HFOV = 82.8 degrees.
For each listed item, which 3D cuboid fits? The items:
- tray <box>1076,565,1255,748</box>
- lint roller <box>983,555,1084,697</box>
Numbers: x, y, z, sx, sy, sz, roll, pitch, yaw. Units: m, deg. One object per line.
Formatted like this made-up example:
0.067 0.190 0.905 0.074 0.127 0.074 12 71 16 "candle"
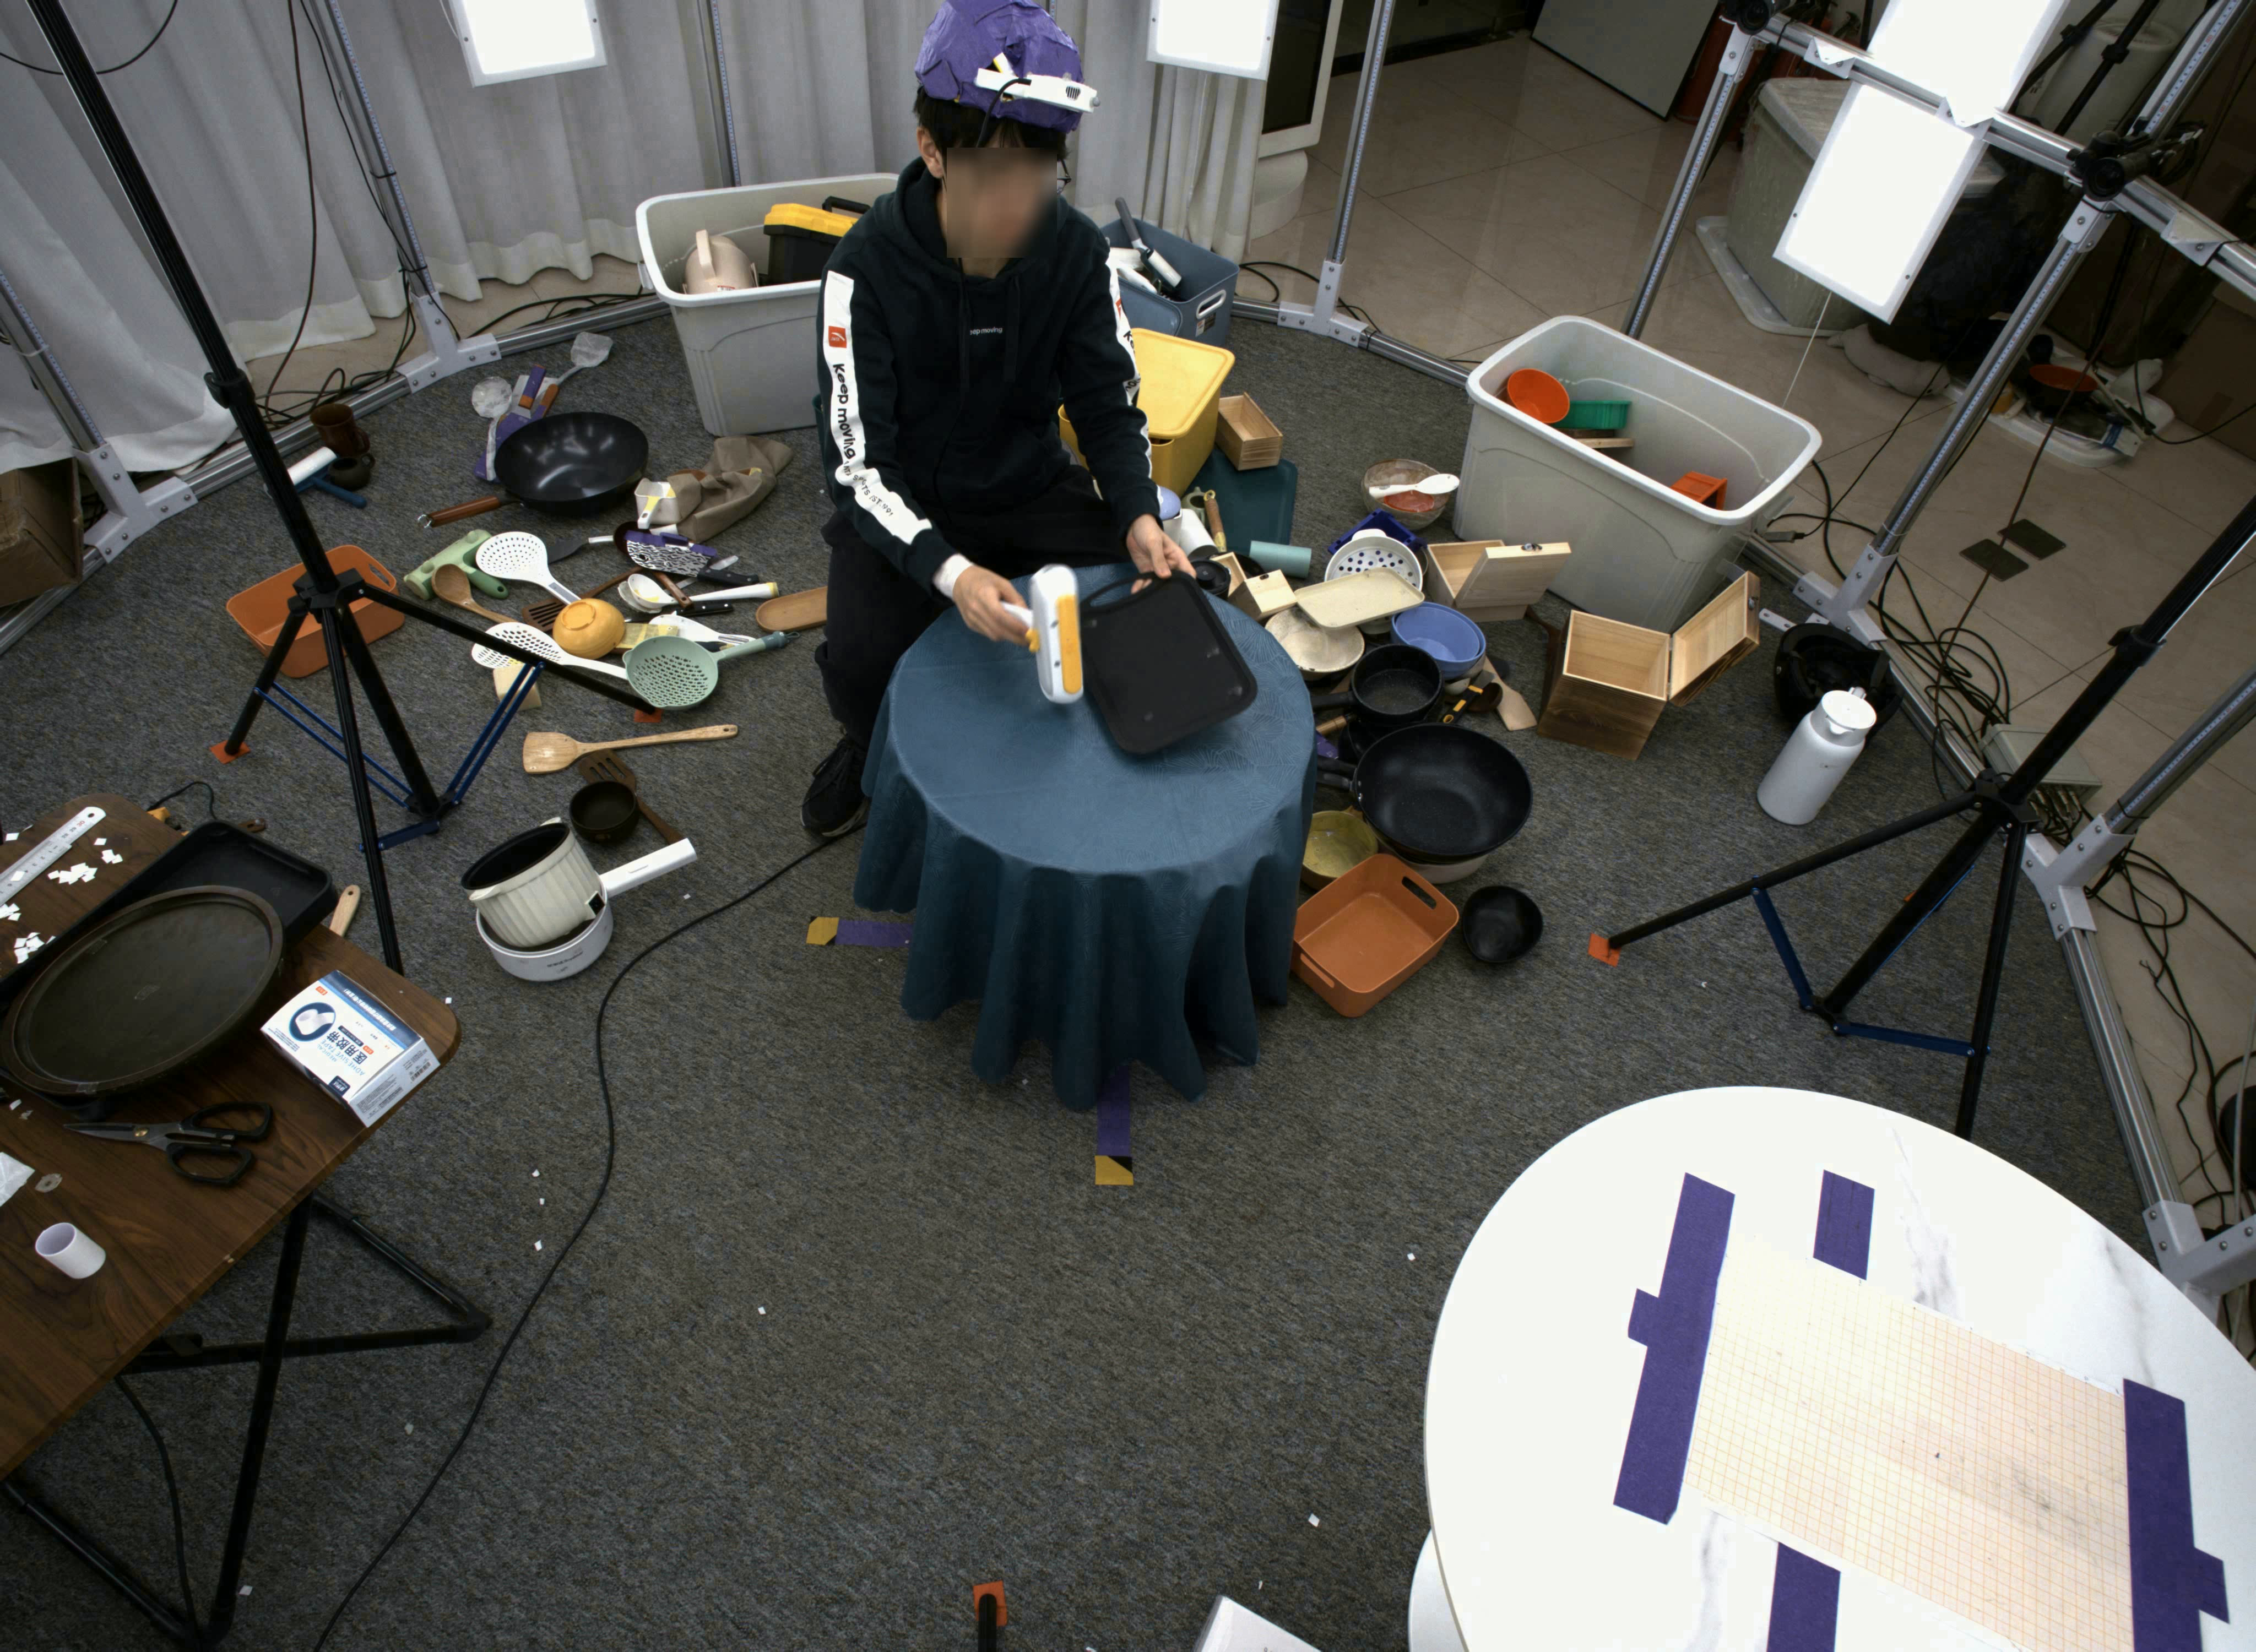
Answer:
0.035 -0.251 1.821 0.211 0.009 0.333 -23 53 -2 "tray"
-0.131 -0.284 1.778 0.074 0.189 0.195 -21 29 -27 "lint roller"
